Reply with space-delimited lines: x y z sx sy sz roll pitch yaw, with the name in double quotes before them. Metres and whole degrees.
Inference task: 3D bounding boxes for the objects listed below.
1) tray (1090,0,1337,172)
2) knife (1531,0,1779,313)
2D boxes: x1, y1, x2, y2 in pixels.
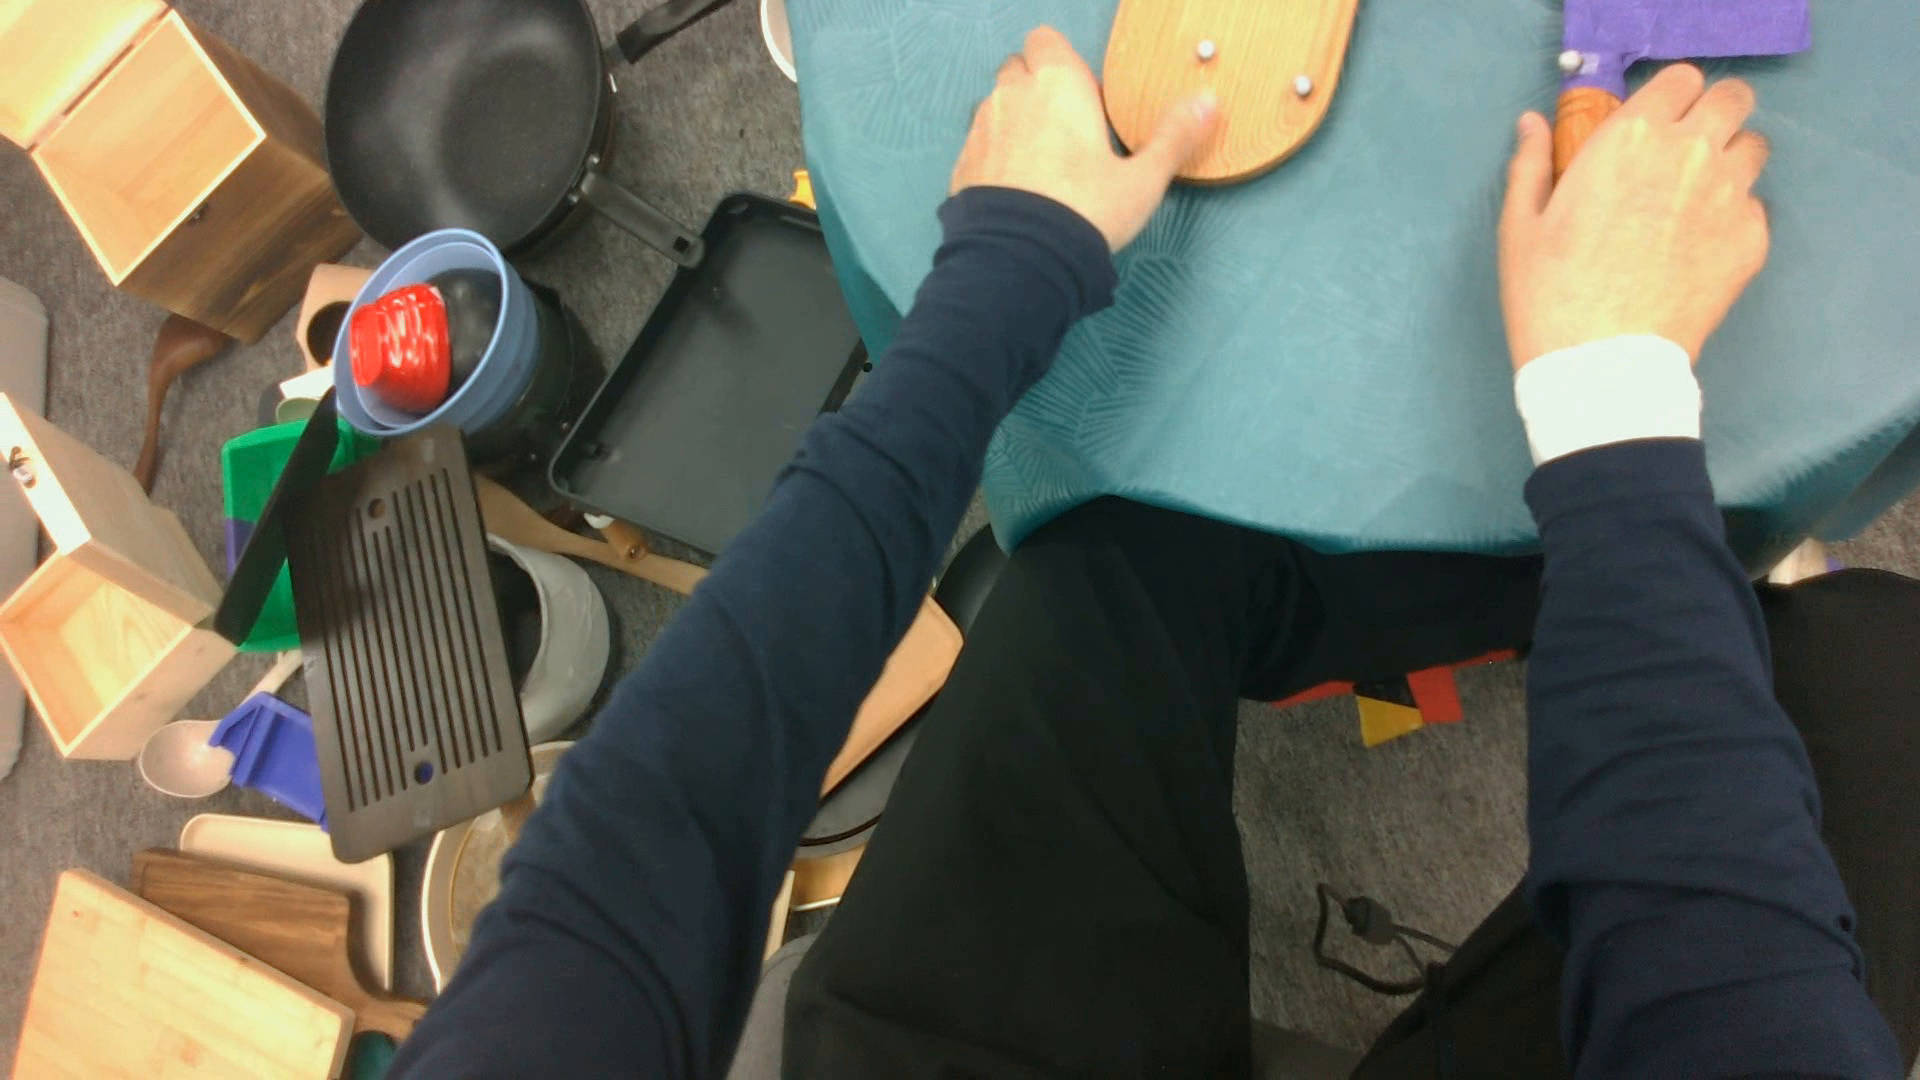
"tray" 0.123 -0.272 0.614 0.101 0.020 0.231 11 81 16
"knife" 0.282 -0.247 0.562 0.104 0.032 0.316 1 79 14
